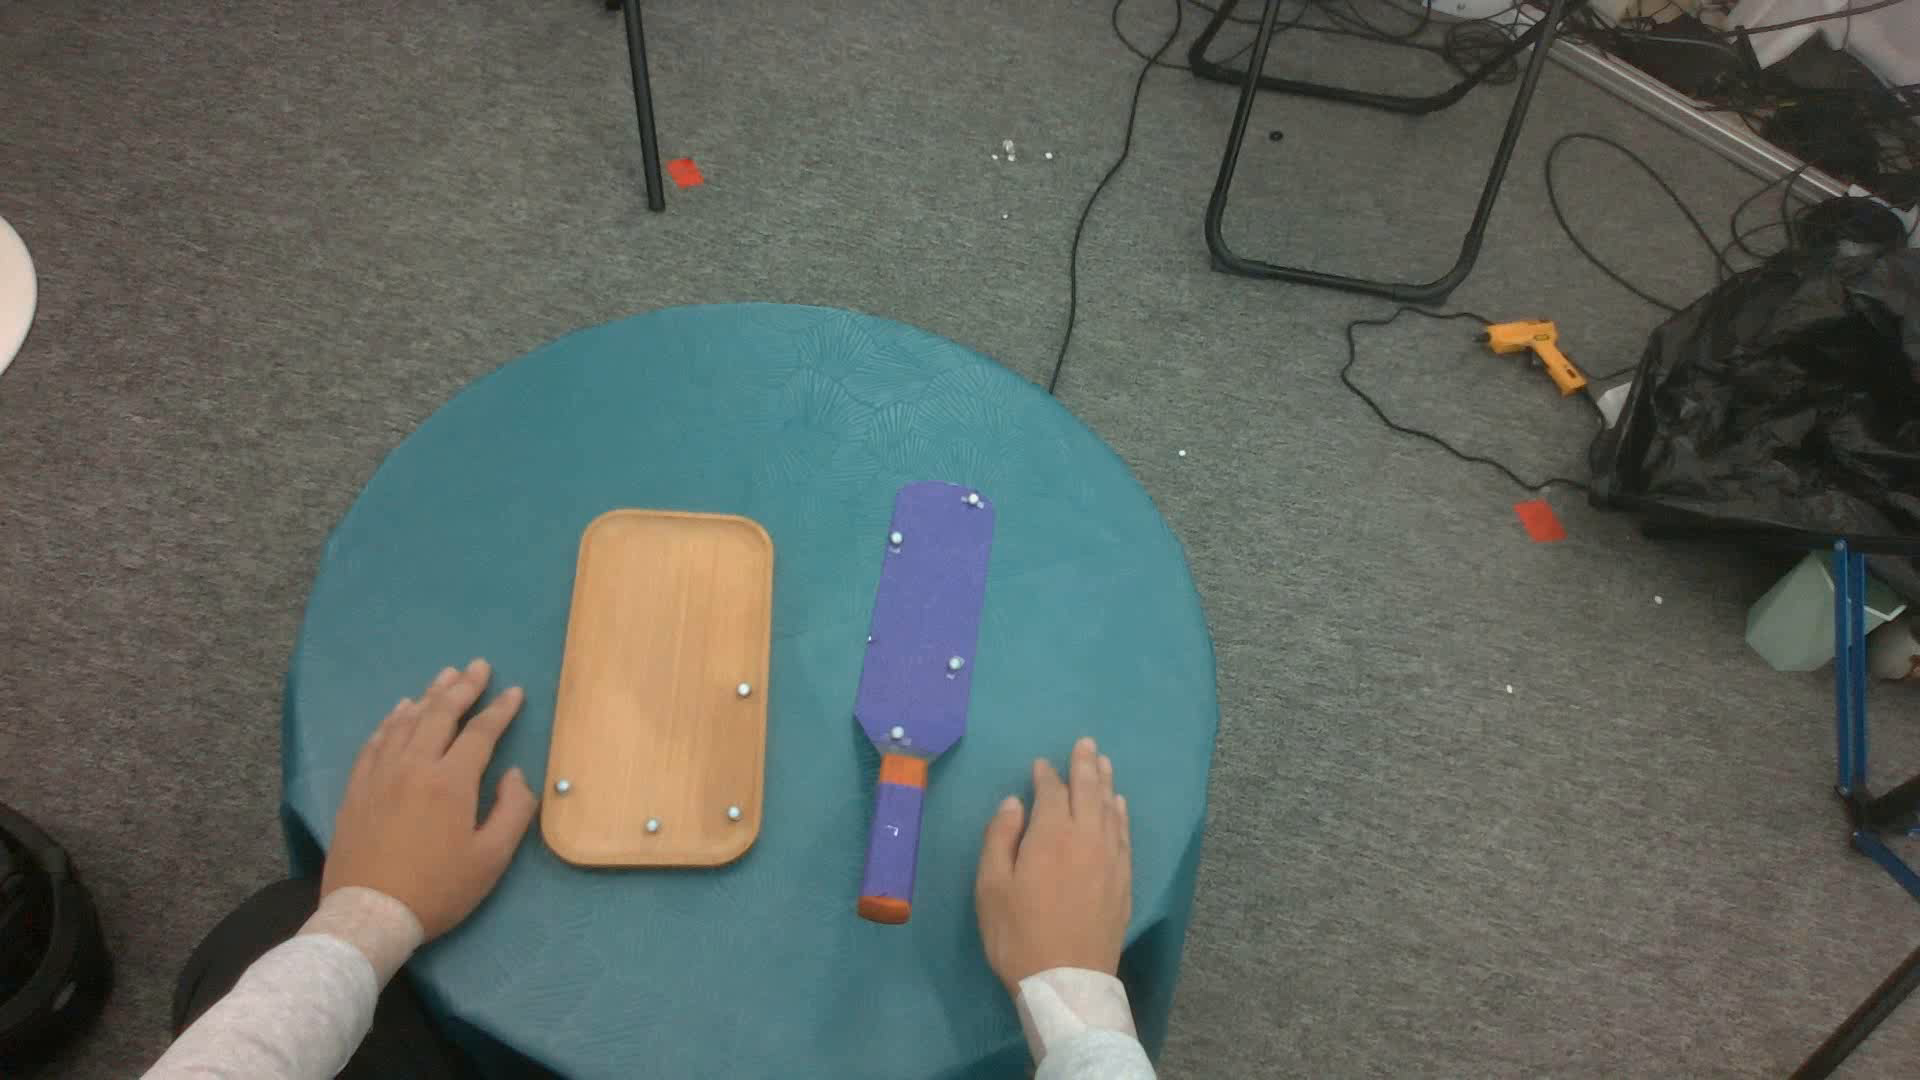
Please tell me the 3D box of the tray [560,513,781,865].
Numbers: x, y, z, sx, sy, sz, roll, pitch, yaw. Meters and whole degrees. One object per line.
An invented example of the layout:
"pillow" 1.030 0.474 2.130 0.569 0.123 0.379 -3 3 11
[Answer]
"tray" -0.182 0.090 0.890 0.130 0.023 0.252 4 55 -11

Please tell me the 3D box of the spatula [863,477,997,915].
"spatula" -0.020 0.080 0.887 0.075 0.086 0.360 8 30 -2
